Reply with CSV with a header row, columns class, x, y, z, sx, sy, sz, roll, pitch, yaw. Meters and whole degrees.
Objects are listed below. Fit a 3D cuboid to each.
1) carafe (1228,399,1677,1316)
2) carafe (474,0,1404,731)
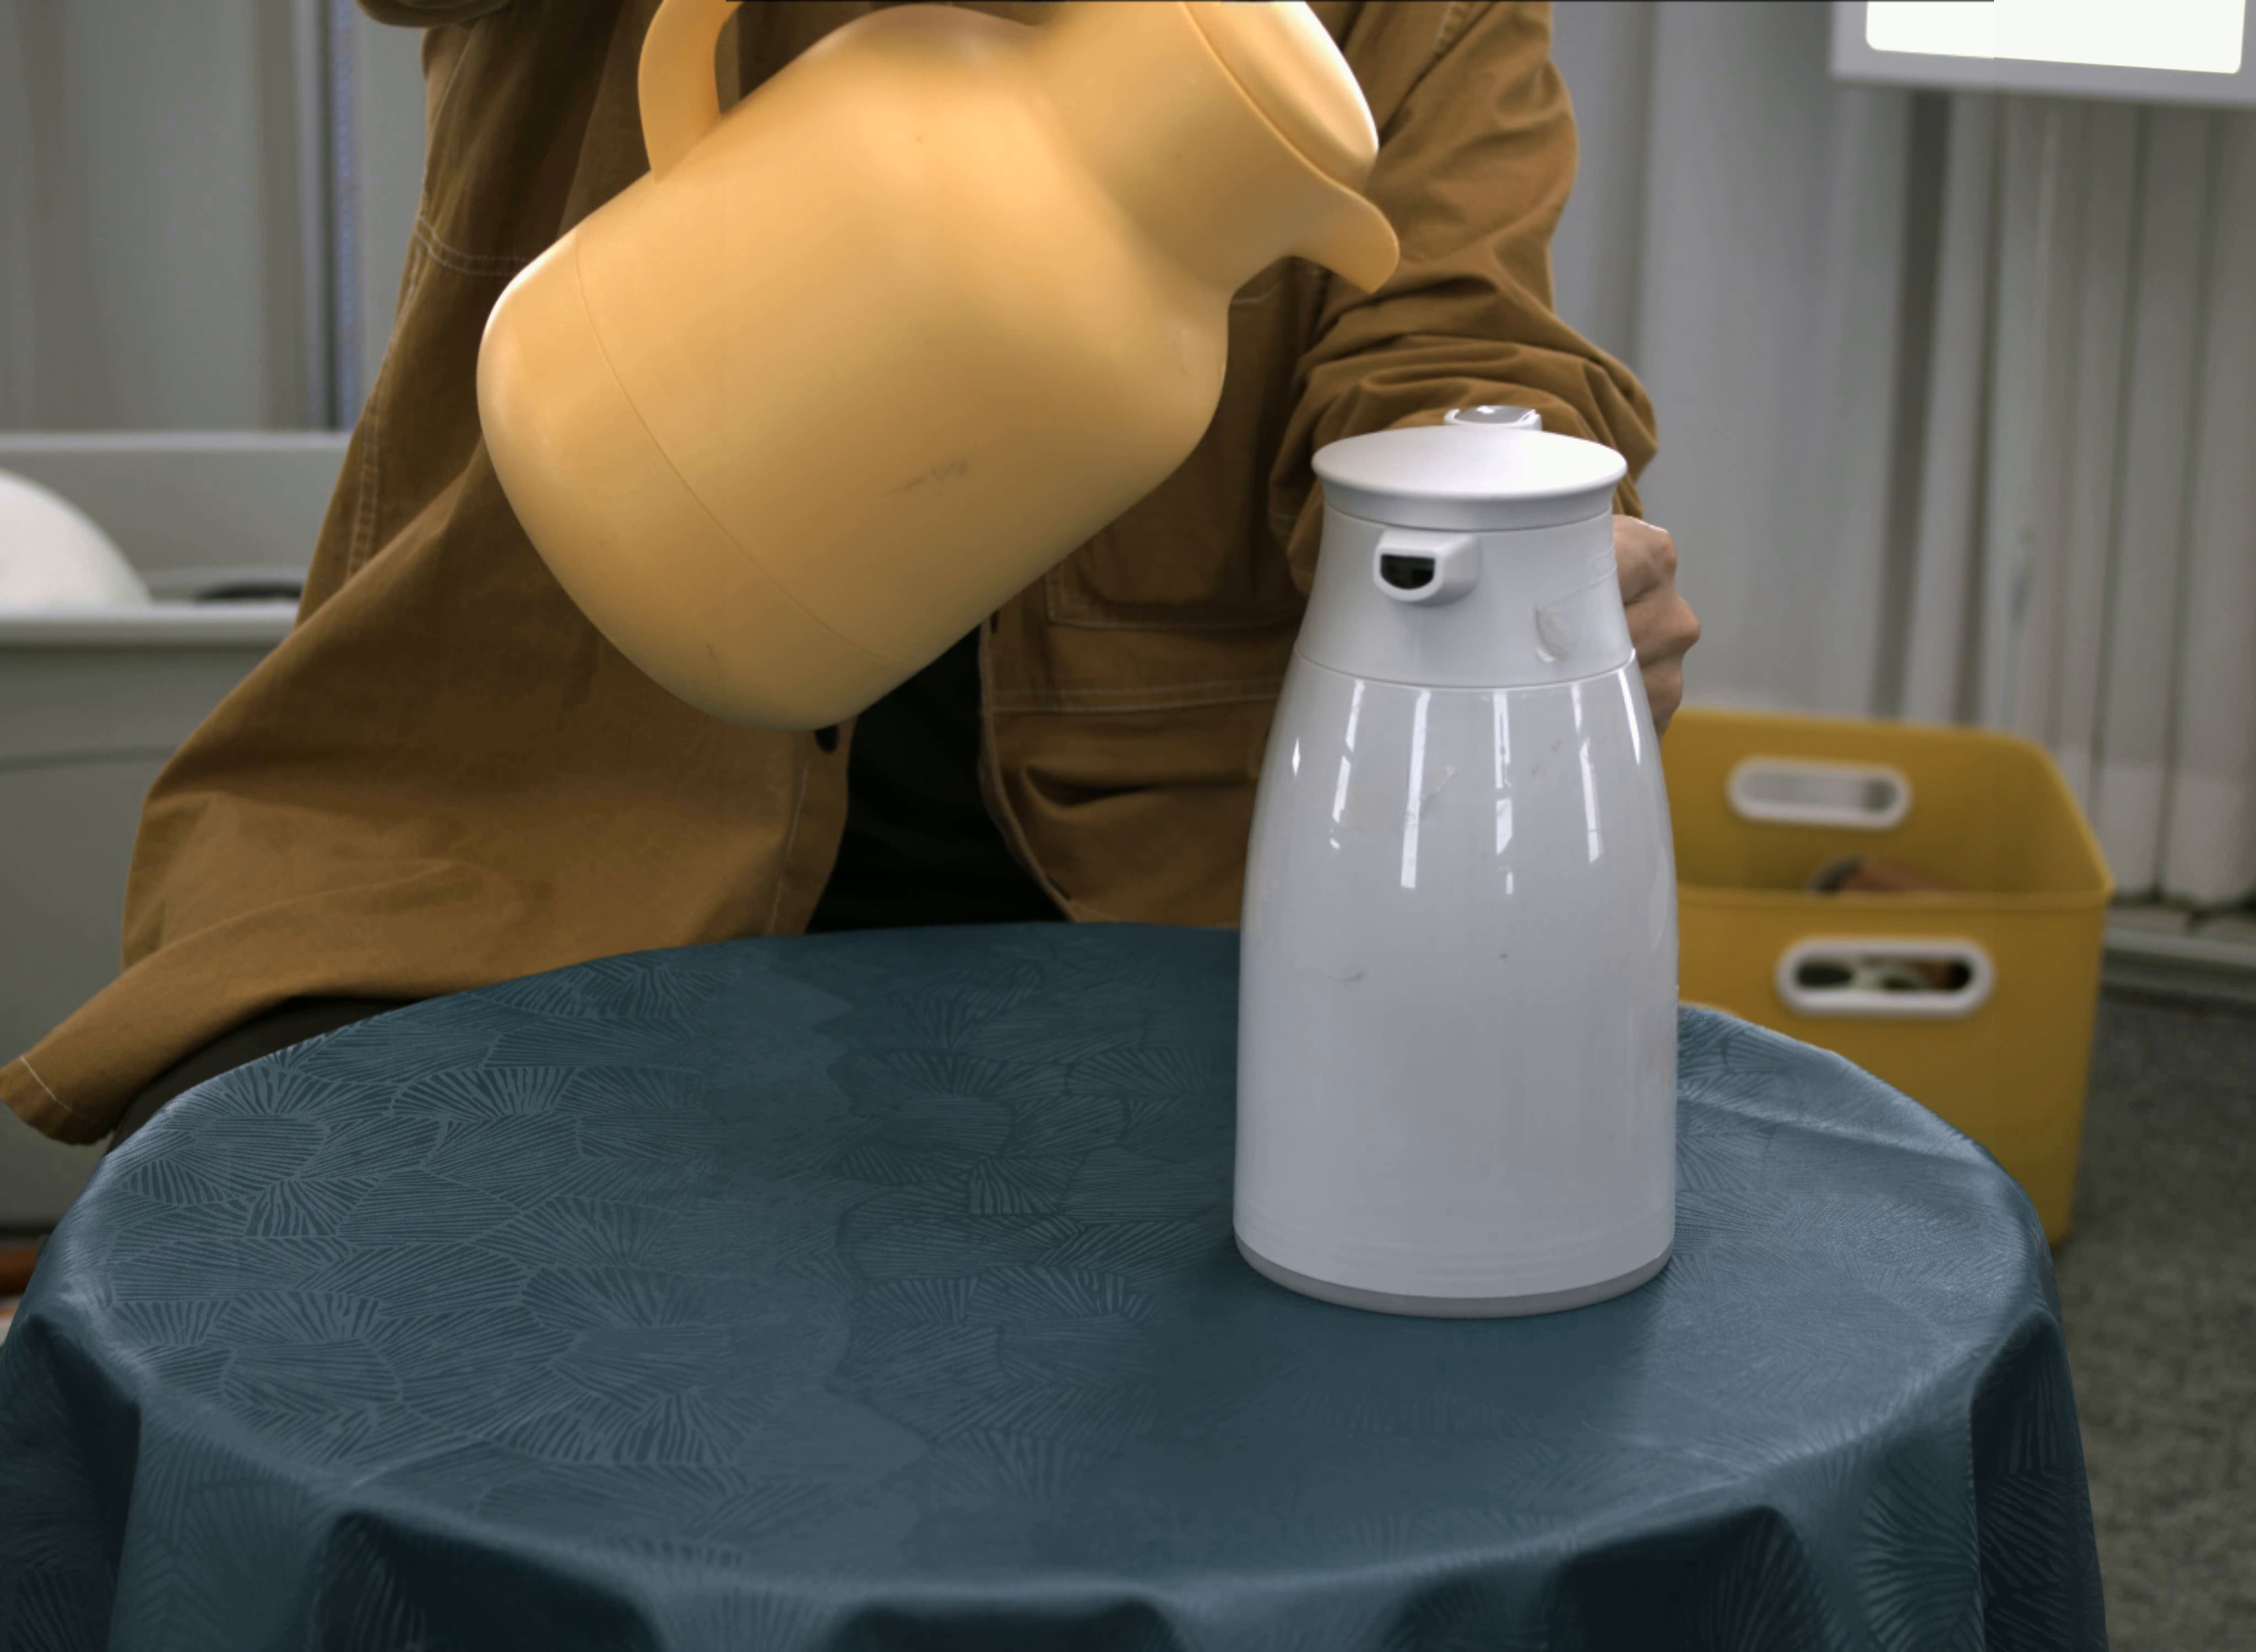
class,x,y,z,sx,sy,sz,roll,pitch,yaw
carafe,0.102,0.000,1.564,0.131,0.250,0.168,5,16,17
carafe,-0.063,-0.168,1.499,0.260,0.204,0.162,-35,16,15
